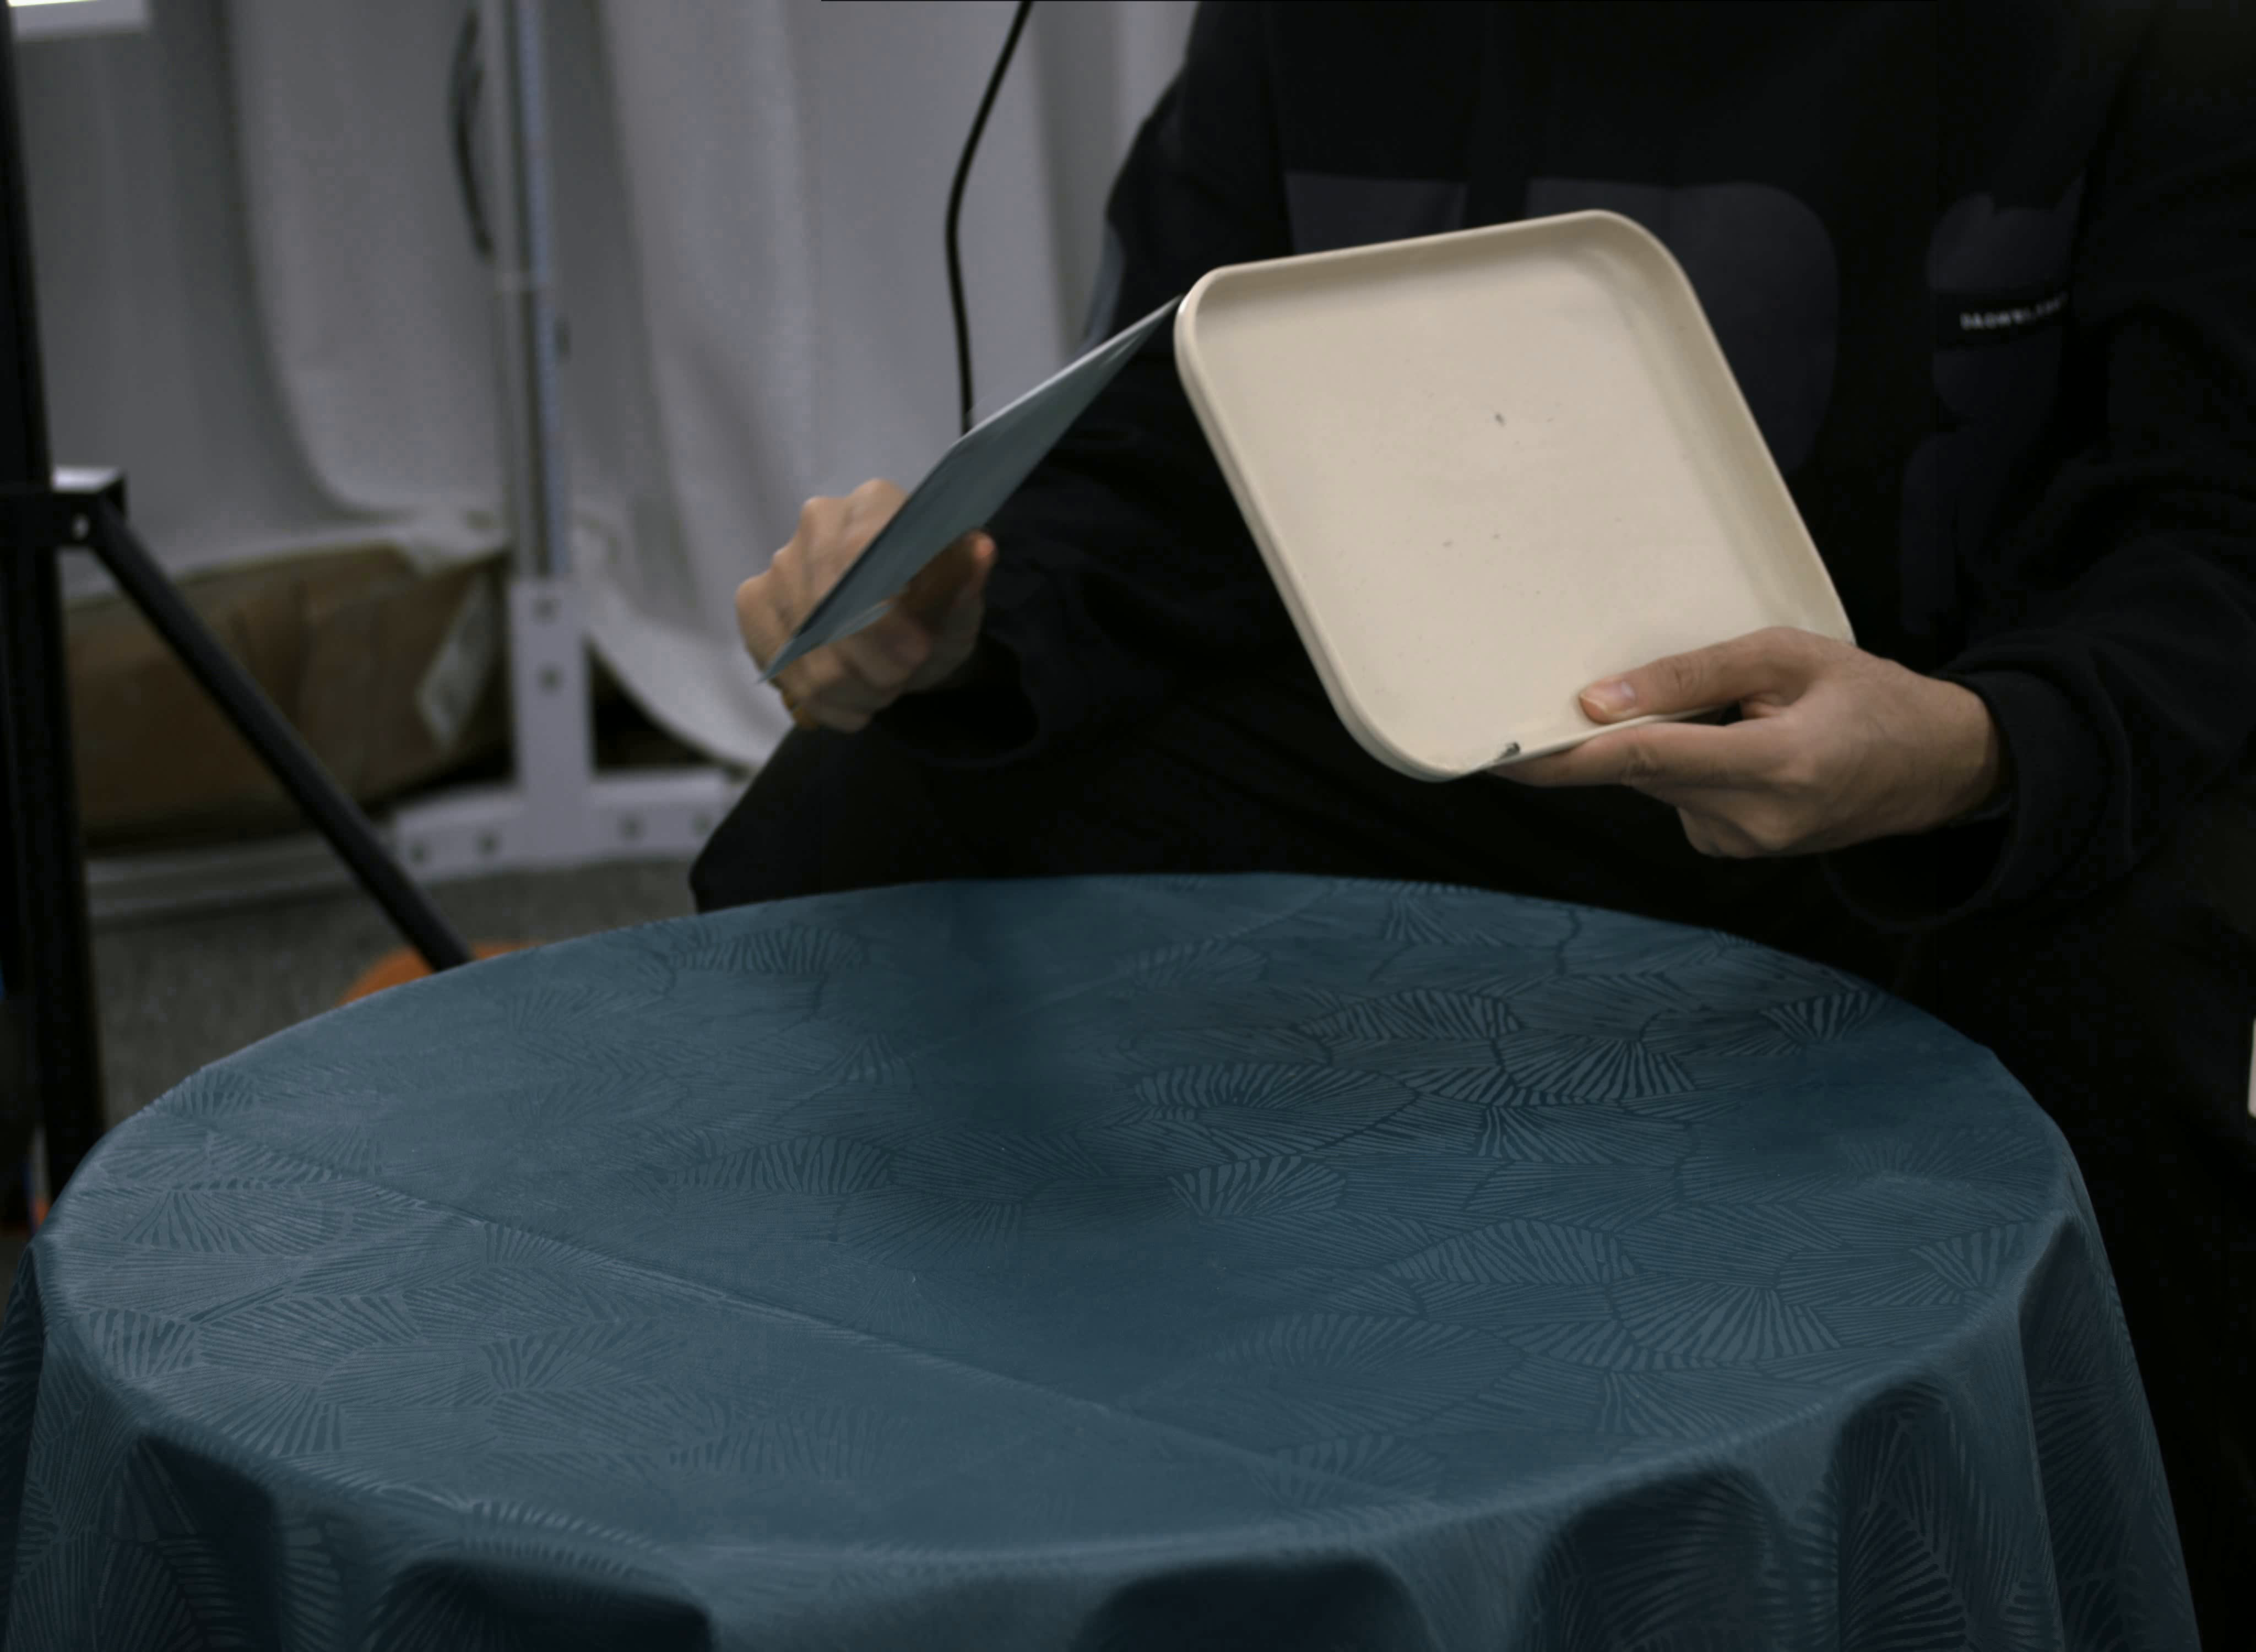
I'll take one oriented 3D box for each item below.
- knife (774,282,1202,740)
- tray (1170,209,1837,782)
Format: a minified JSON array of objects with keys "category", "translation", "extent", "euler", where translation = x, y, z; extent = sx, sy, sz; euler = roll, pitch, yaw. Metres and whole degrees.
[{"category":"knife","translation":[-0.066,-0.086,1.693],"extent":[0.091,0.021,0.309],"euler":[-35,-5,-32]},{"category":"tray","translation":[0.116,-0.102,1.630],"extent":[0.234,0.173,0.018],"euler":[-14,-17,-45]}]
